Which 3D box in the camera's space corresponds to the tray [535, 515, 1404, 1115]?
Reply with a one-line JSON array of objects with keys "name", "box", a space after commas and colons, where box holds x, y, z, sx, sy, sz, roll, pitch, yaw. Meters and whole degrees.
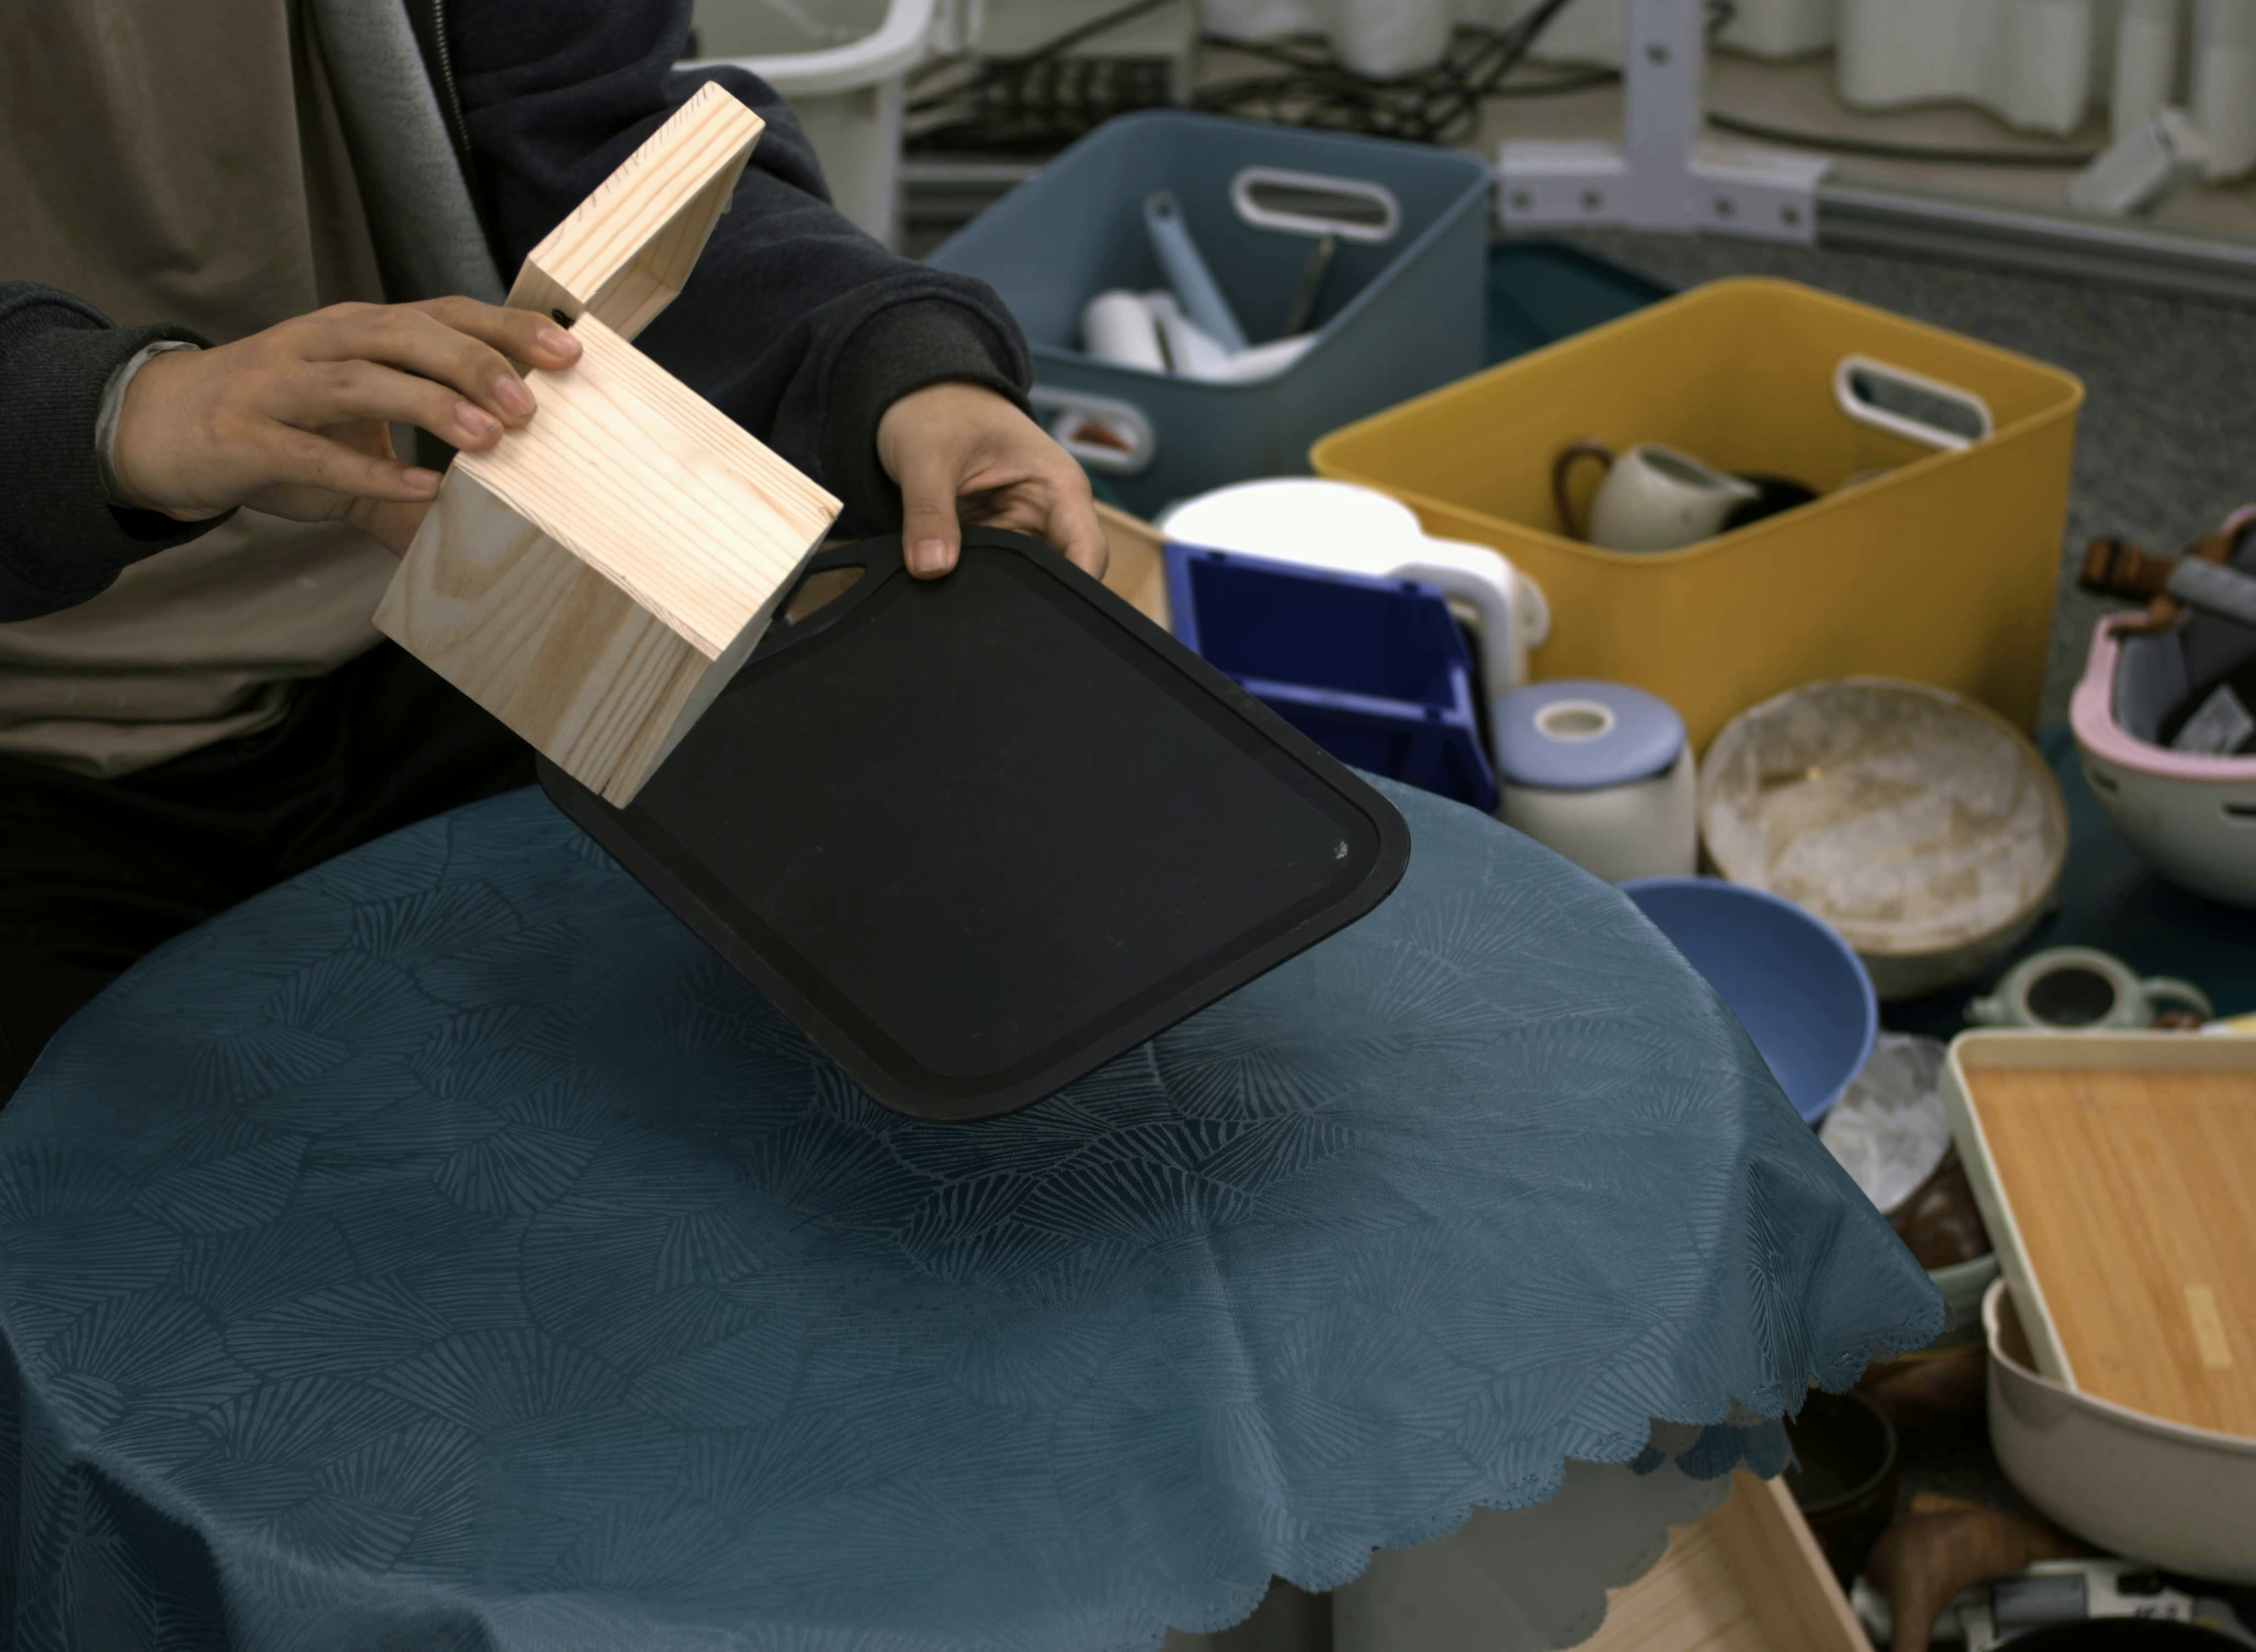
[{"name": "tray", "box": [-0.064, -0.014, 1.930, 0.212, 0.009, 0.327, -28, 40, -21]}]

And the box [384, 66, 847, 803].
[{"name": "box", "box": [-0.145, -0.125, 1.802, 0.133, 0.101, 0.188, 36, 55, -1]}]
